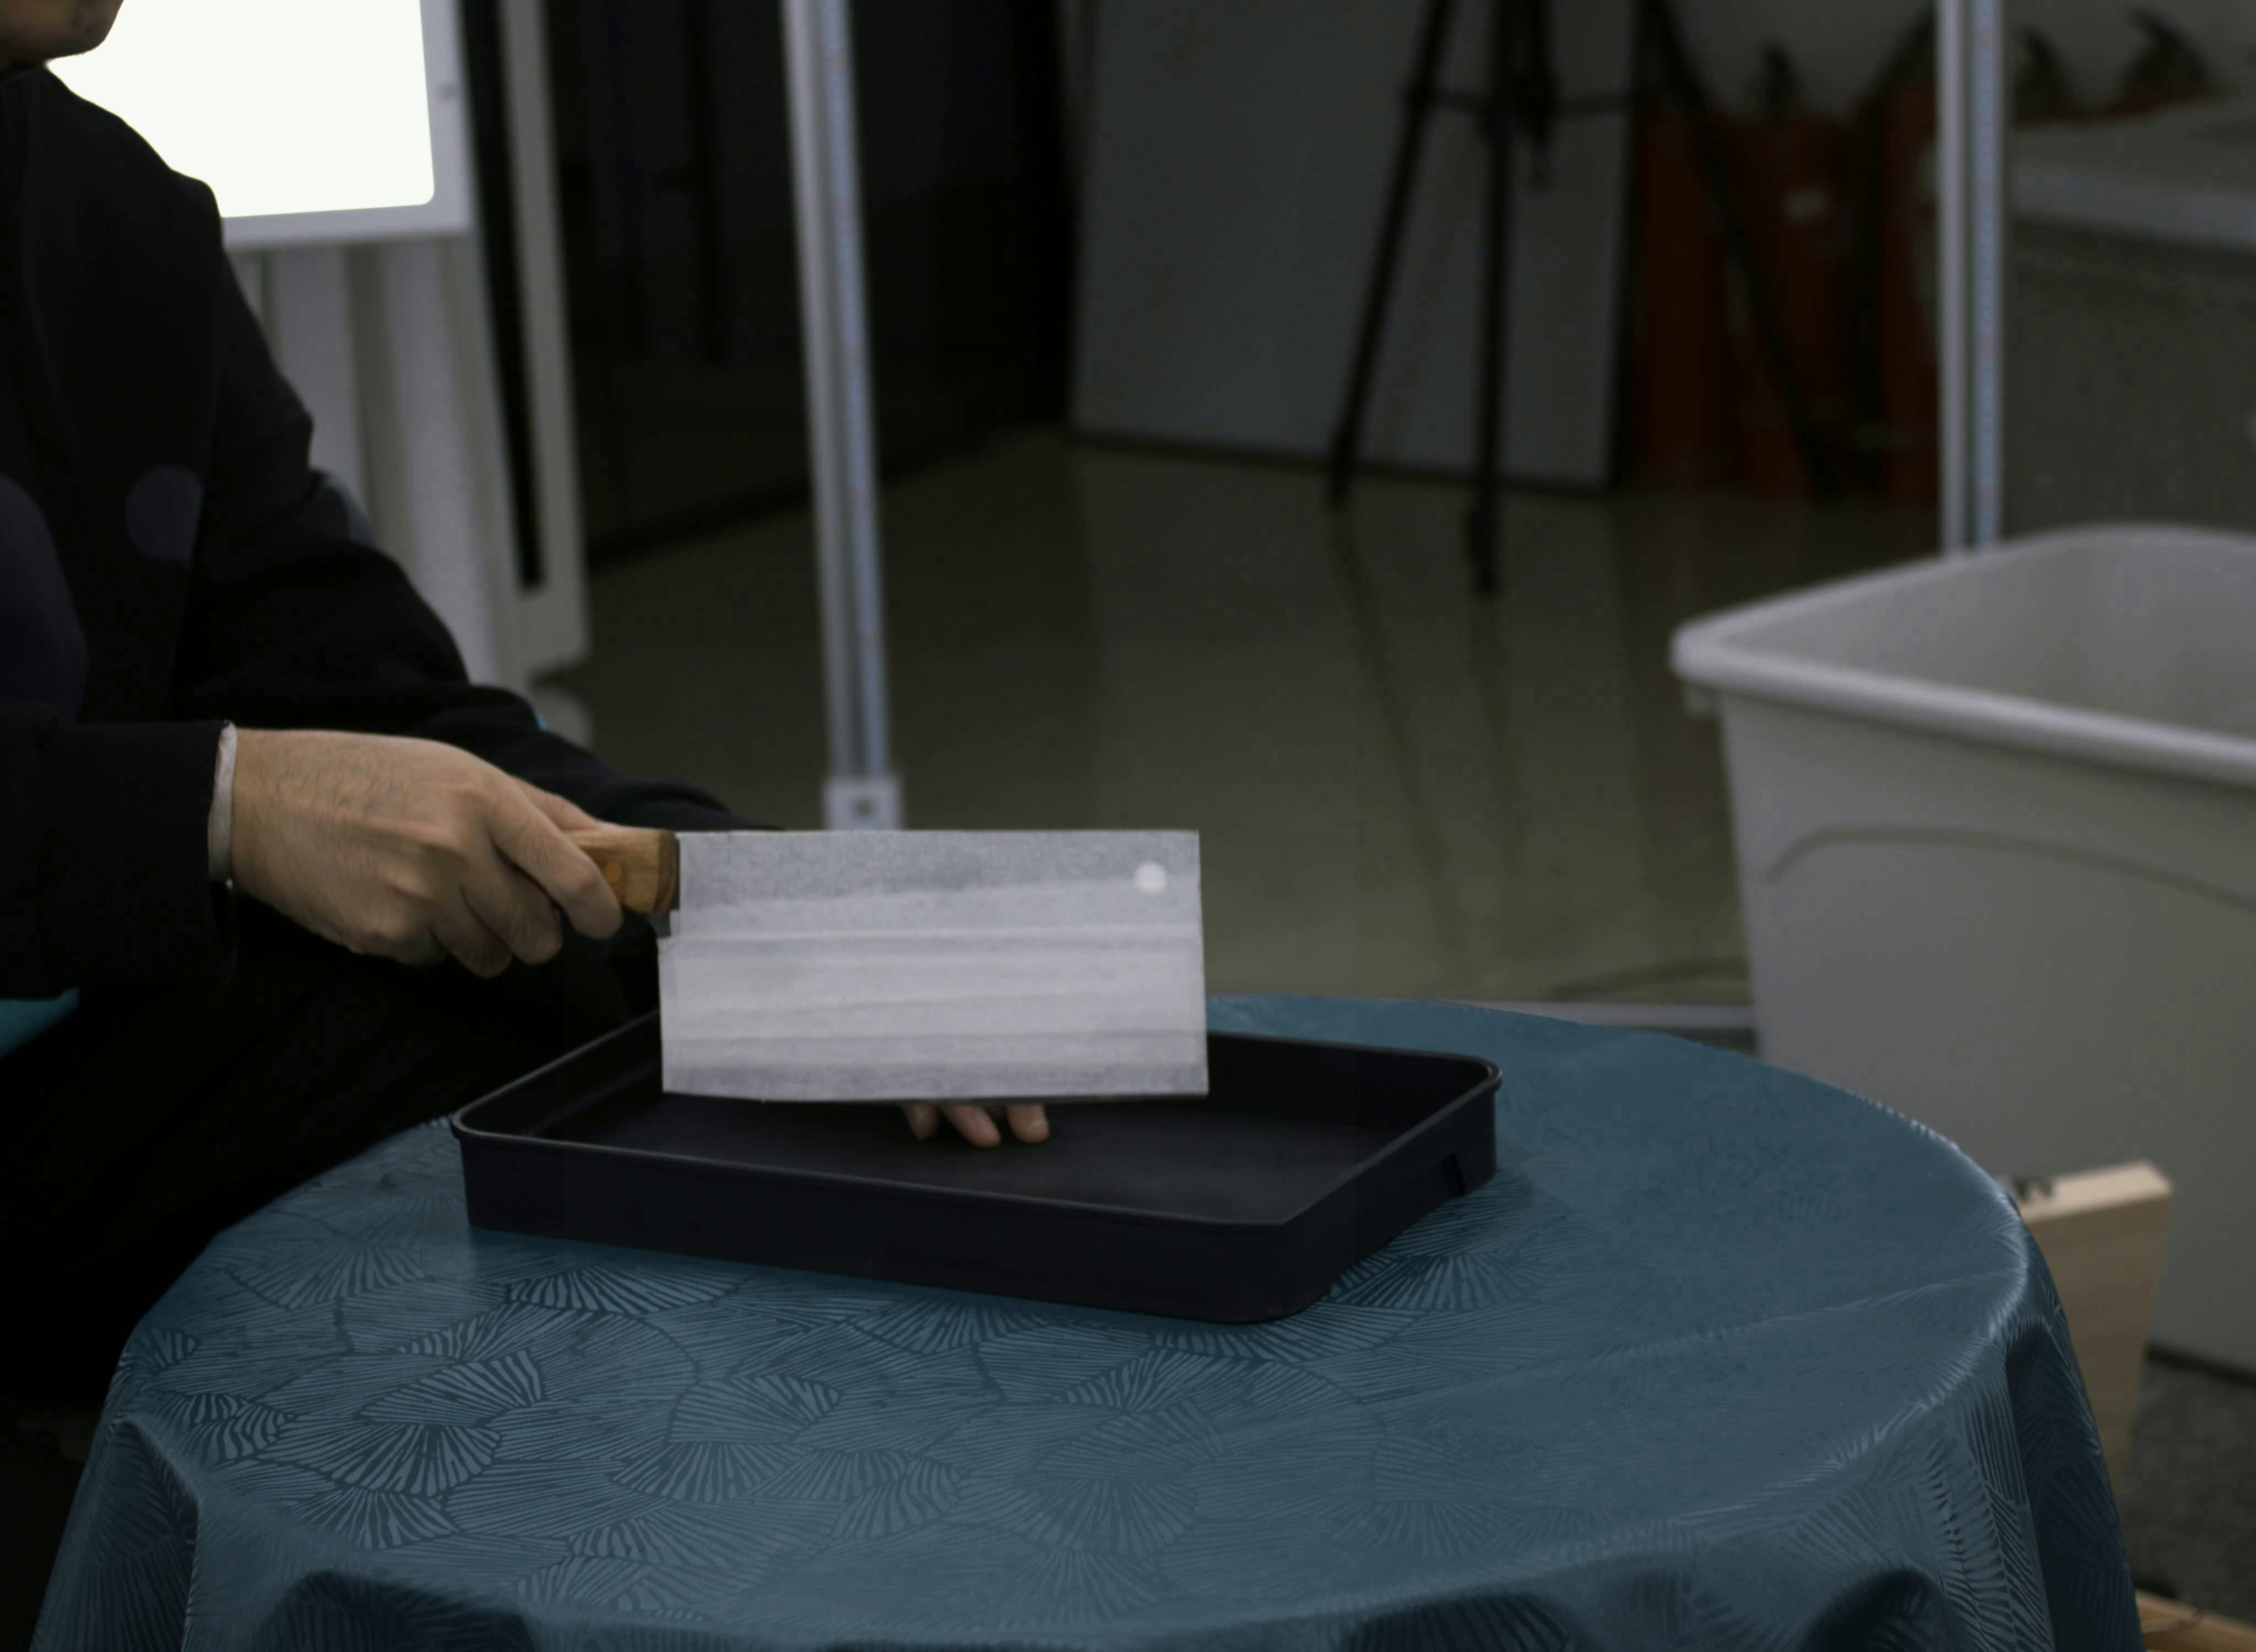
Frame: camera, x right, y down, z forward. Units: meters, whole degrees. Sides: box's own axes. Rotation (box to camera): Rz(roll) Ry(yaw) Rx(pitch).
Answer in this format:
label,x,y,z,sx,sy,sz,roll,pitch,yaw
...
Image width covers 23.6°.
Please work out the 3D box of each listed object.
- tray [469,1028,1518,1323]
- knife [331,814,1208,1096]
label,x,y,z,sx,sy,sz,roll,pitch,yaw
tray,-0.043,0.106,1.772,0.319,0.037,0.182,3,16,28
knife,-0.120,0.043,1.793,0.304,0.094,0.021,-1,8,17
